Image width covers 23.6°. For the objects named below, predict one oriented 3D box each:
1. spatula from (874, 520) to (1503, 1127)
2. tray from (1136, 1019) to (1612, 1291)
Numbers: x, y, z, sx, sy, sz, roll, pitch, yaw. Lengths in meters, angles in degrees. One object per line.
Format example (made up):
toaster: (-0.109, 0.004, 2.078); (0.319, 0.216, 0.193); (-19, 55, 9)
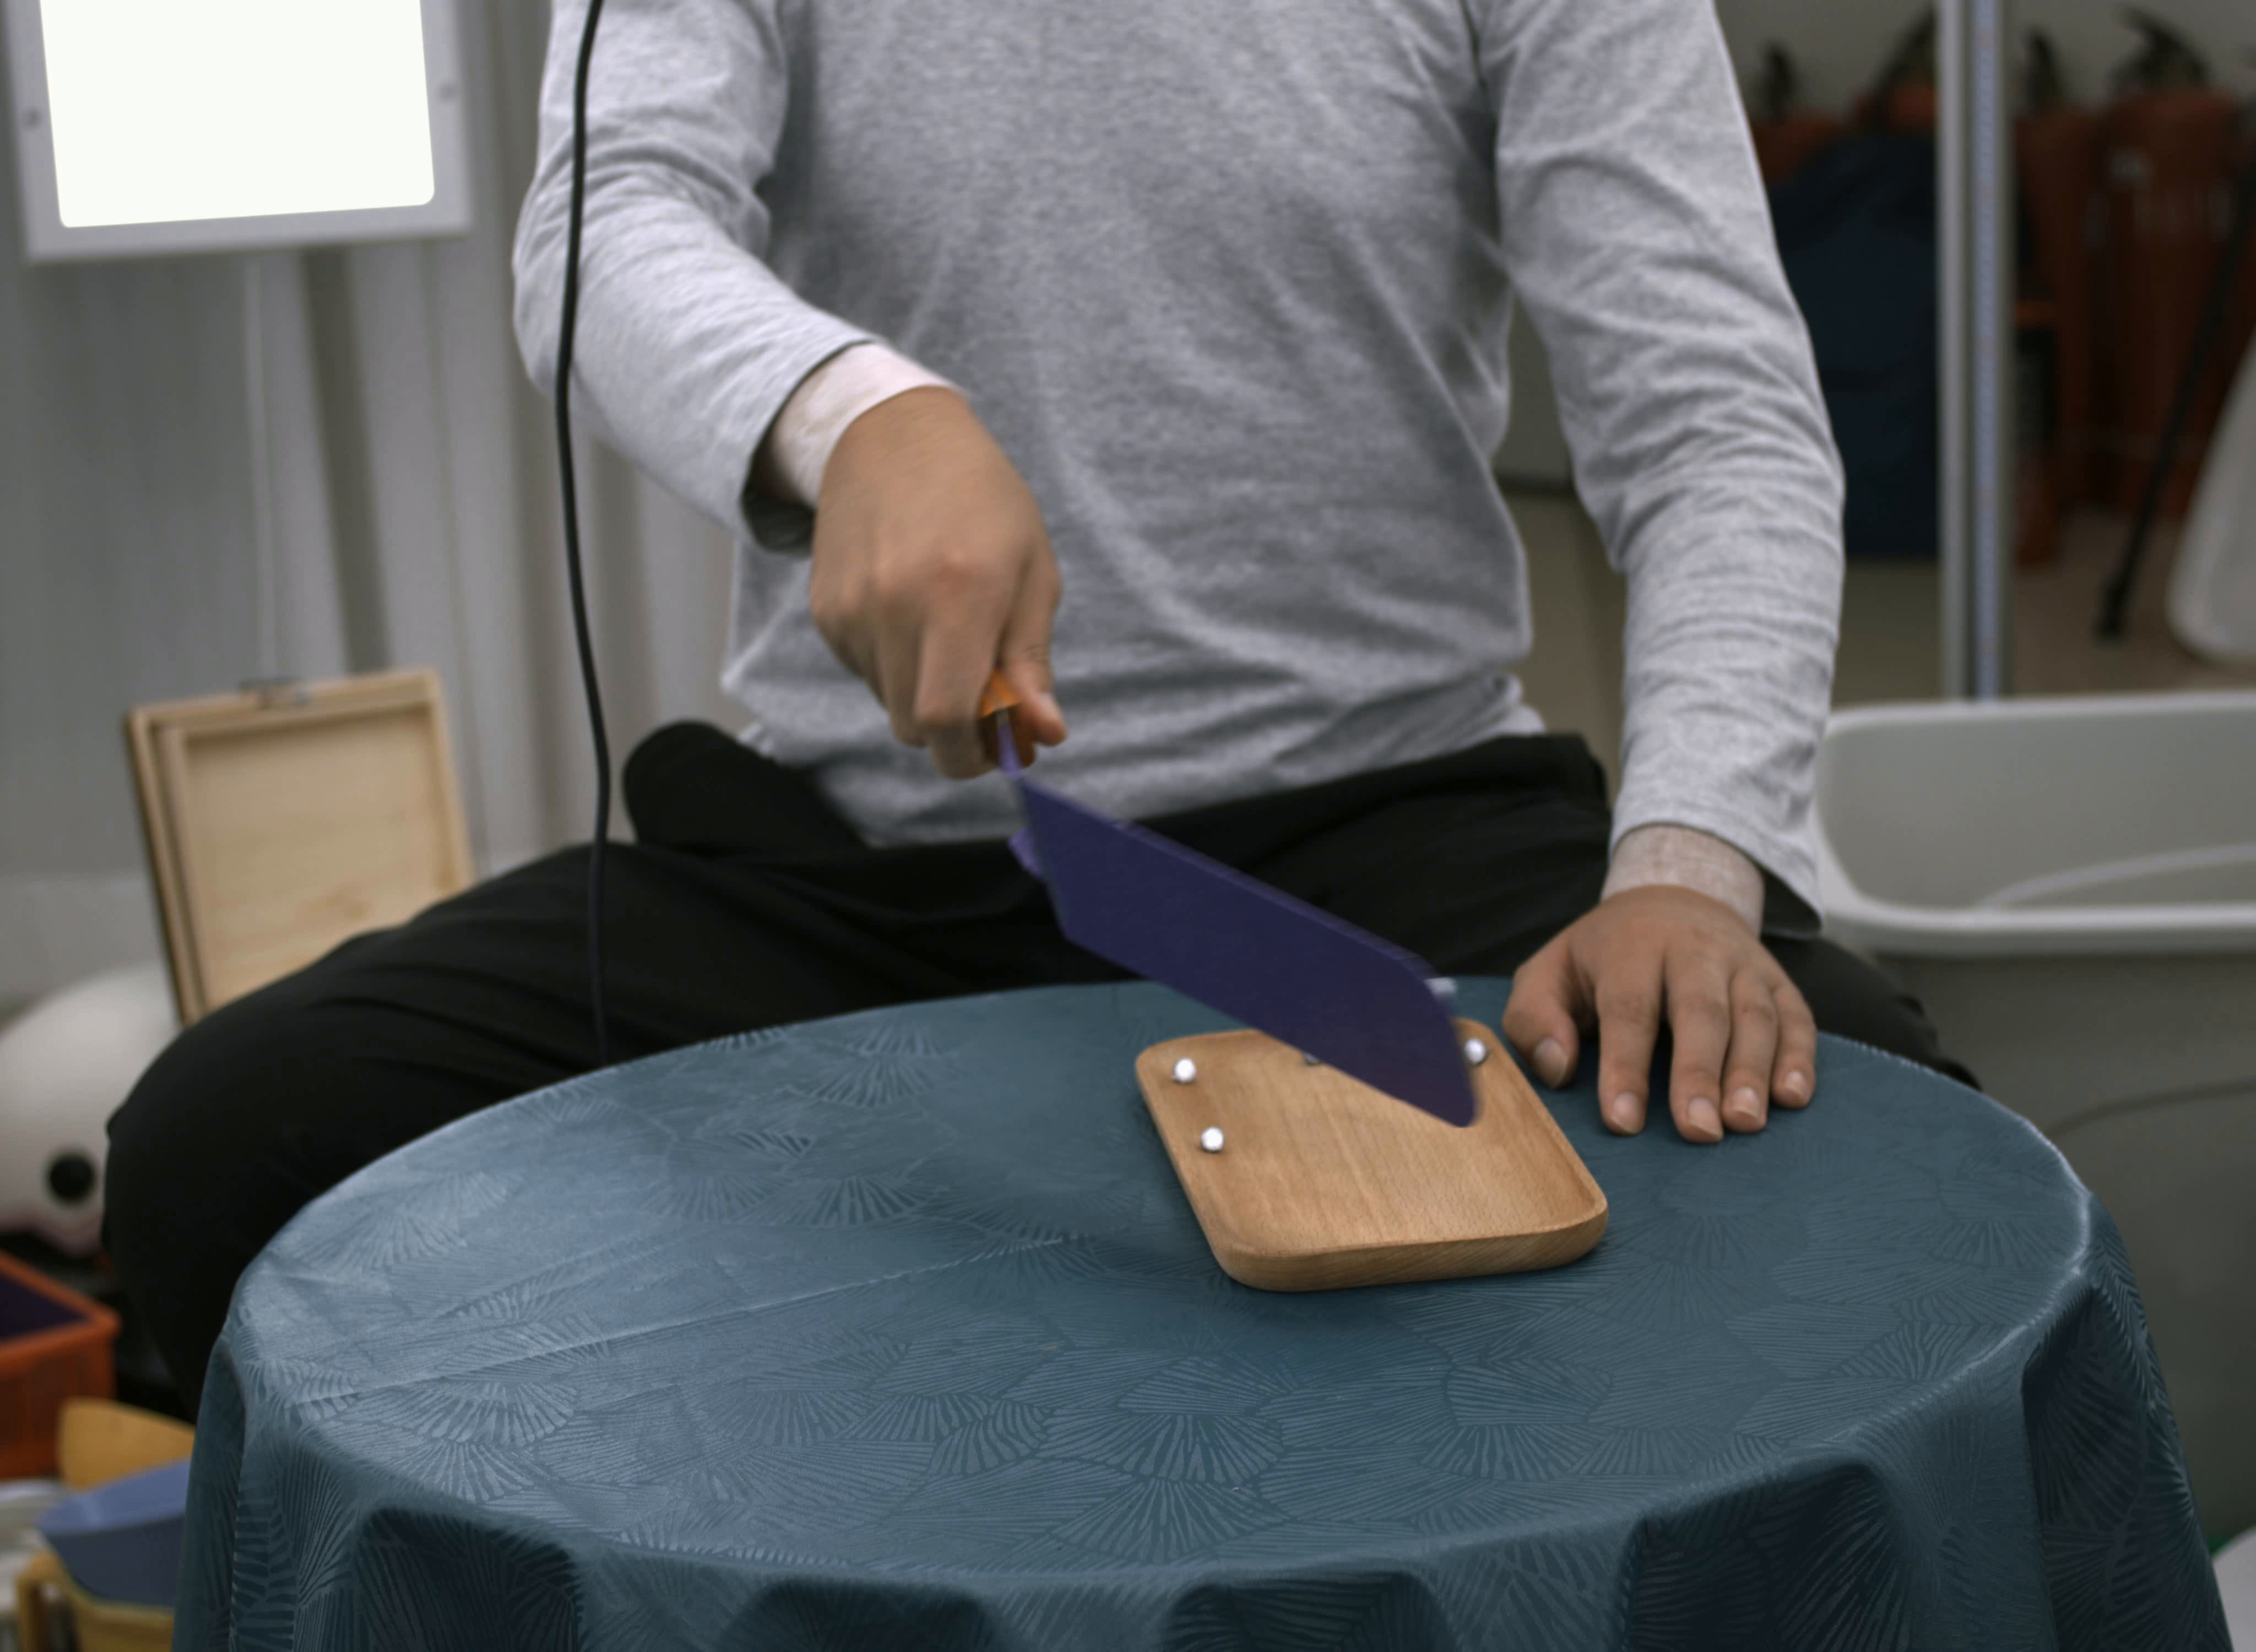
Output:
spatula: (0.012, -0.012, 1.758); (0.085, 0.075, 0.363); (-20, 38, -10)
tray: (0.078, 0.105, 1.779); (0.128, 0.023, 0.252); (-9, 15, -4)
